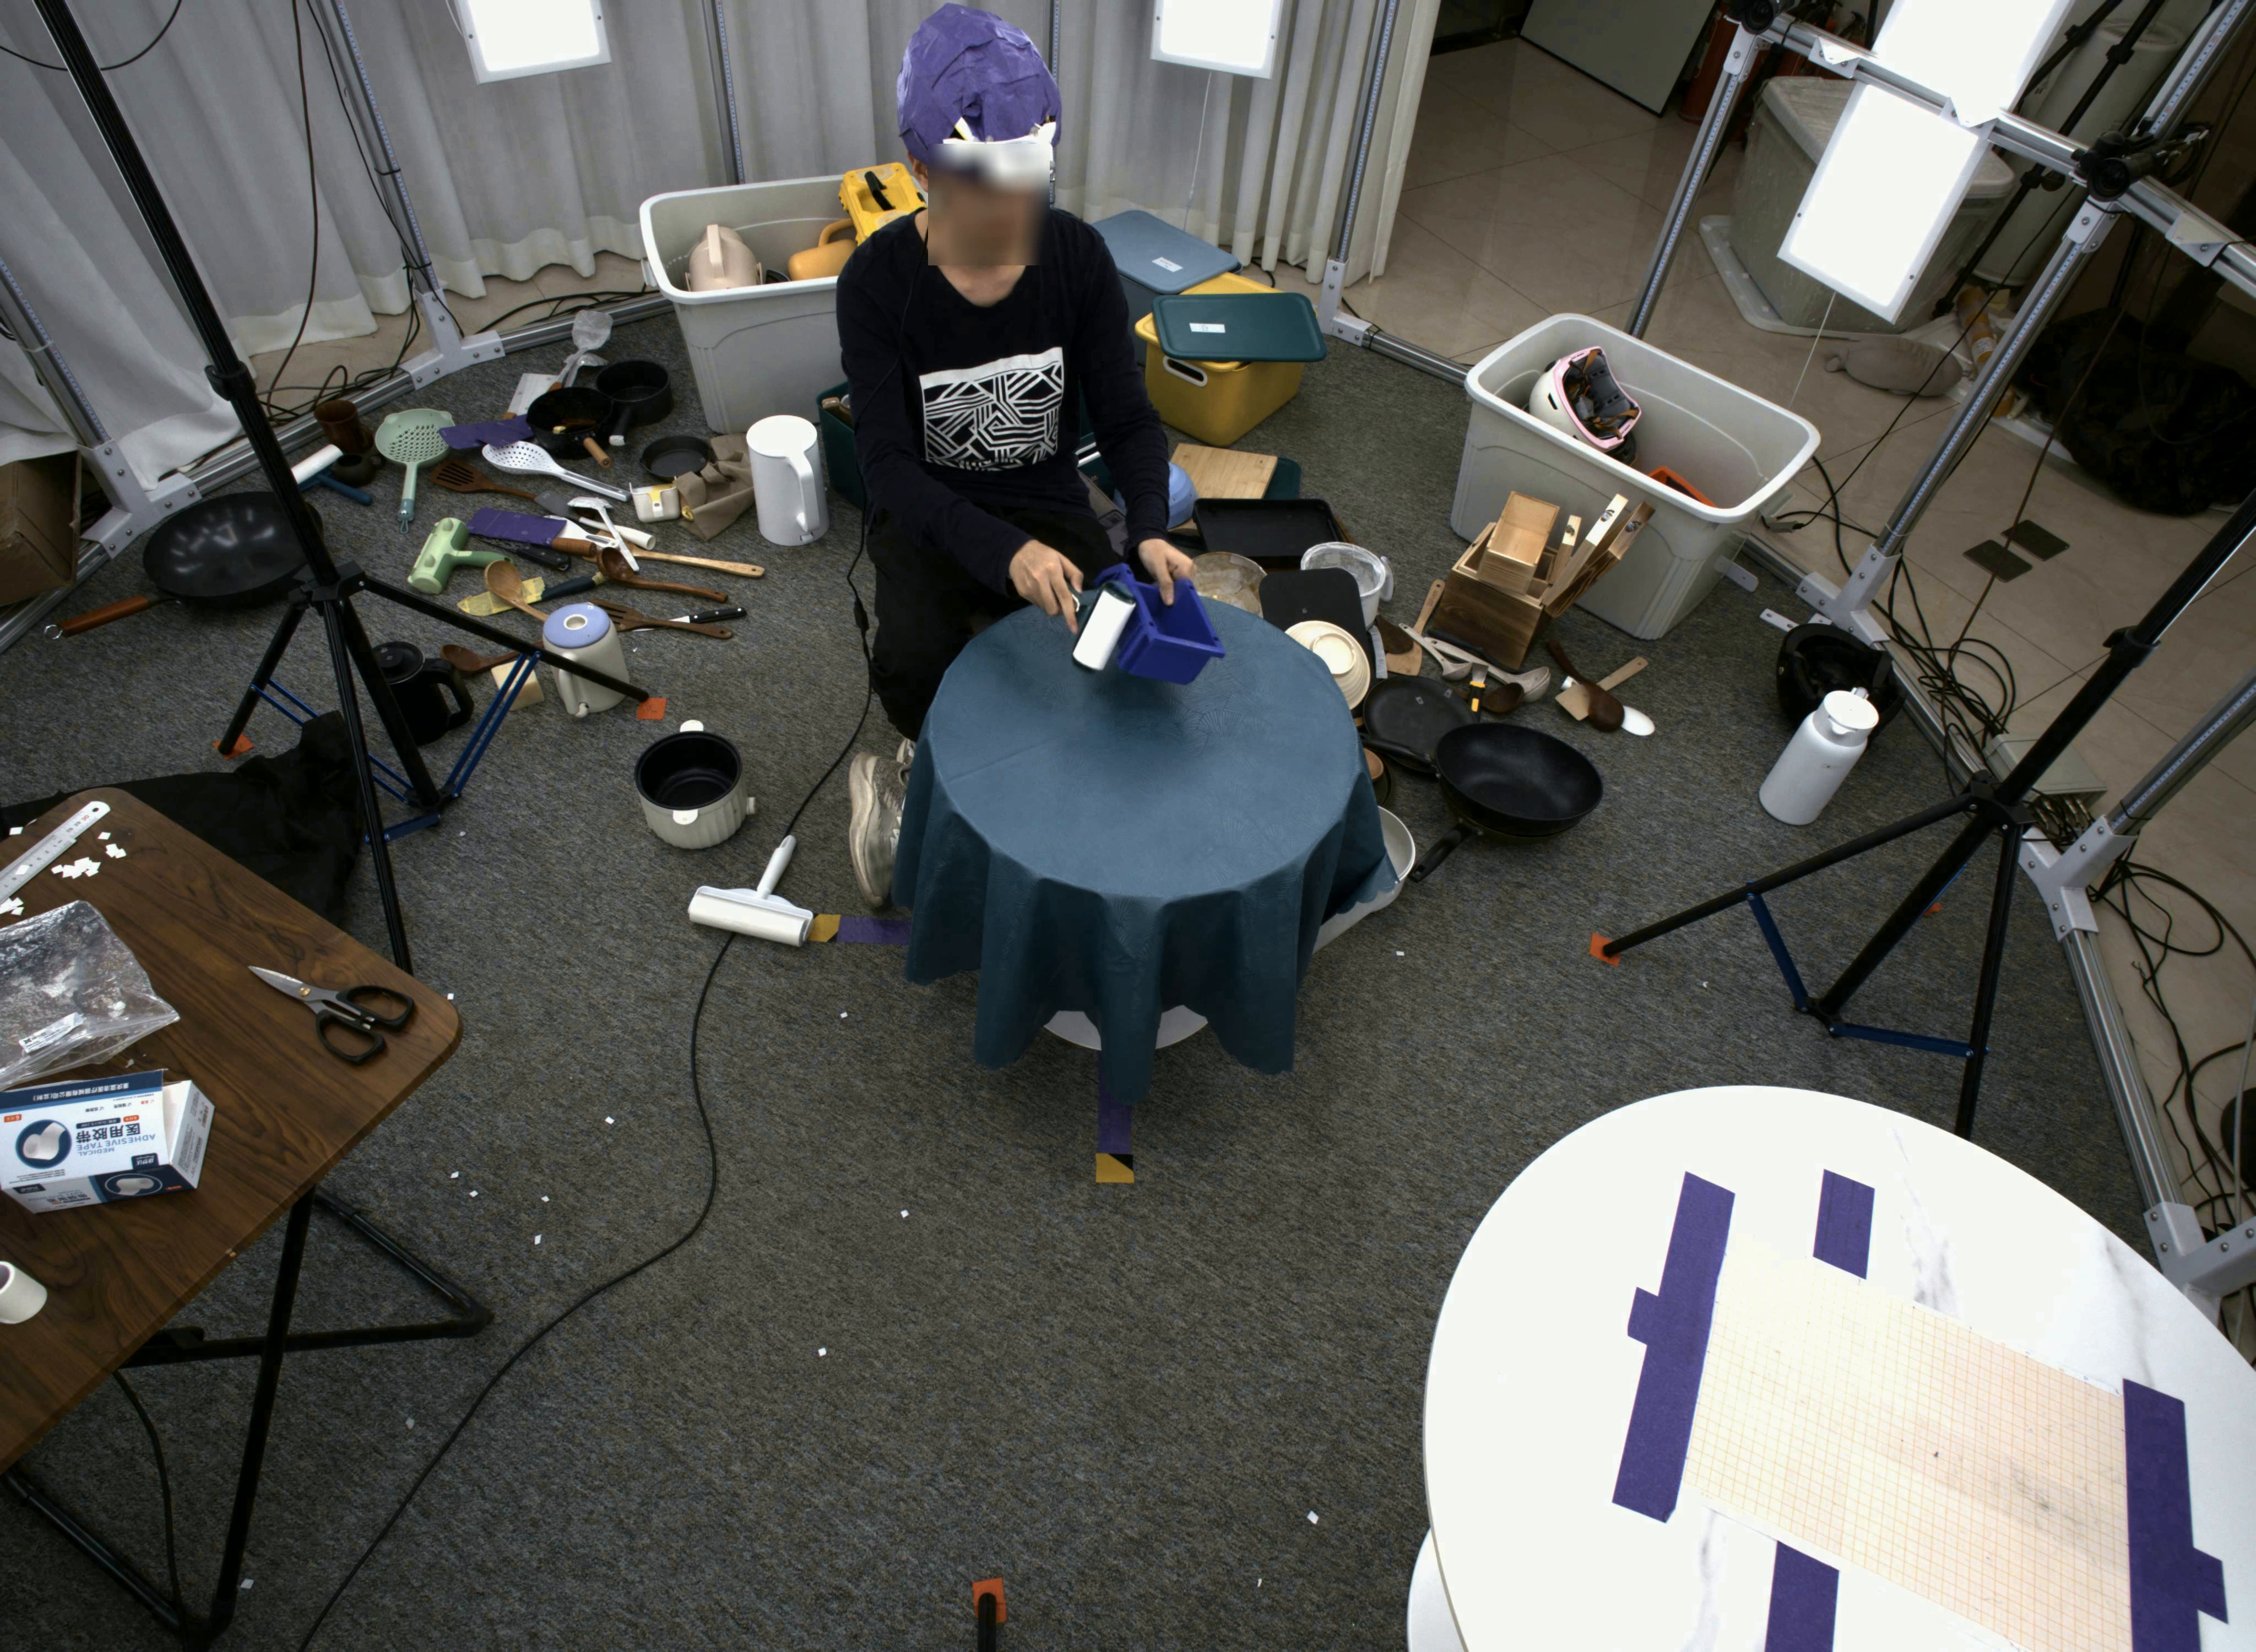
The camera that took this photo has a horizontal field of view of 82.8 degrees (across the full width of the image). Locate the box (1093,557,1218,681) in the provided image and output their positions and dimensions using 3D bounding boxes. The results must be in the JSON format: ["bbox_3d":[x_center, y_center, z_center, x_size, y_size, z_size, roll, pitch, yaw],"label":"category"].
[{"bbox_3d":[0.031,-0.292,1.775,0.123,0.080,0.184,9,48,-31],"label":"box"}]

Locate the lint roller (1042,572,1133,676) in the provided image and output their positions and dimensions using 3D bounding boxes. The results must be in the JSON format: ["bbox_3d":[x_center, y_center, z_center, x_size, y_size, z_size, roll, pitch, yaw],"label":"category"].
[{"bbox_3d":[-0.076,-0.300,1.756,0.048,0.132,0.183,1,34,-49],"label":"lint roller"}]
